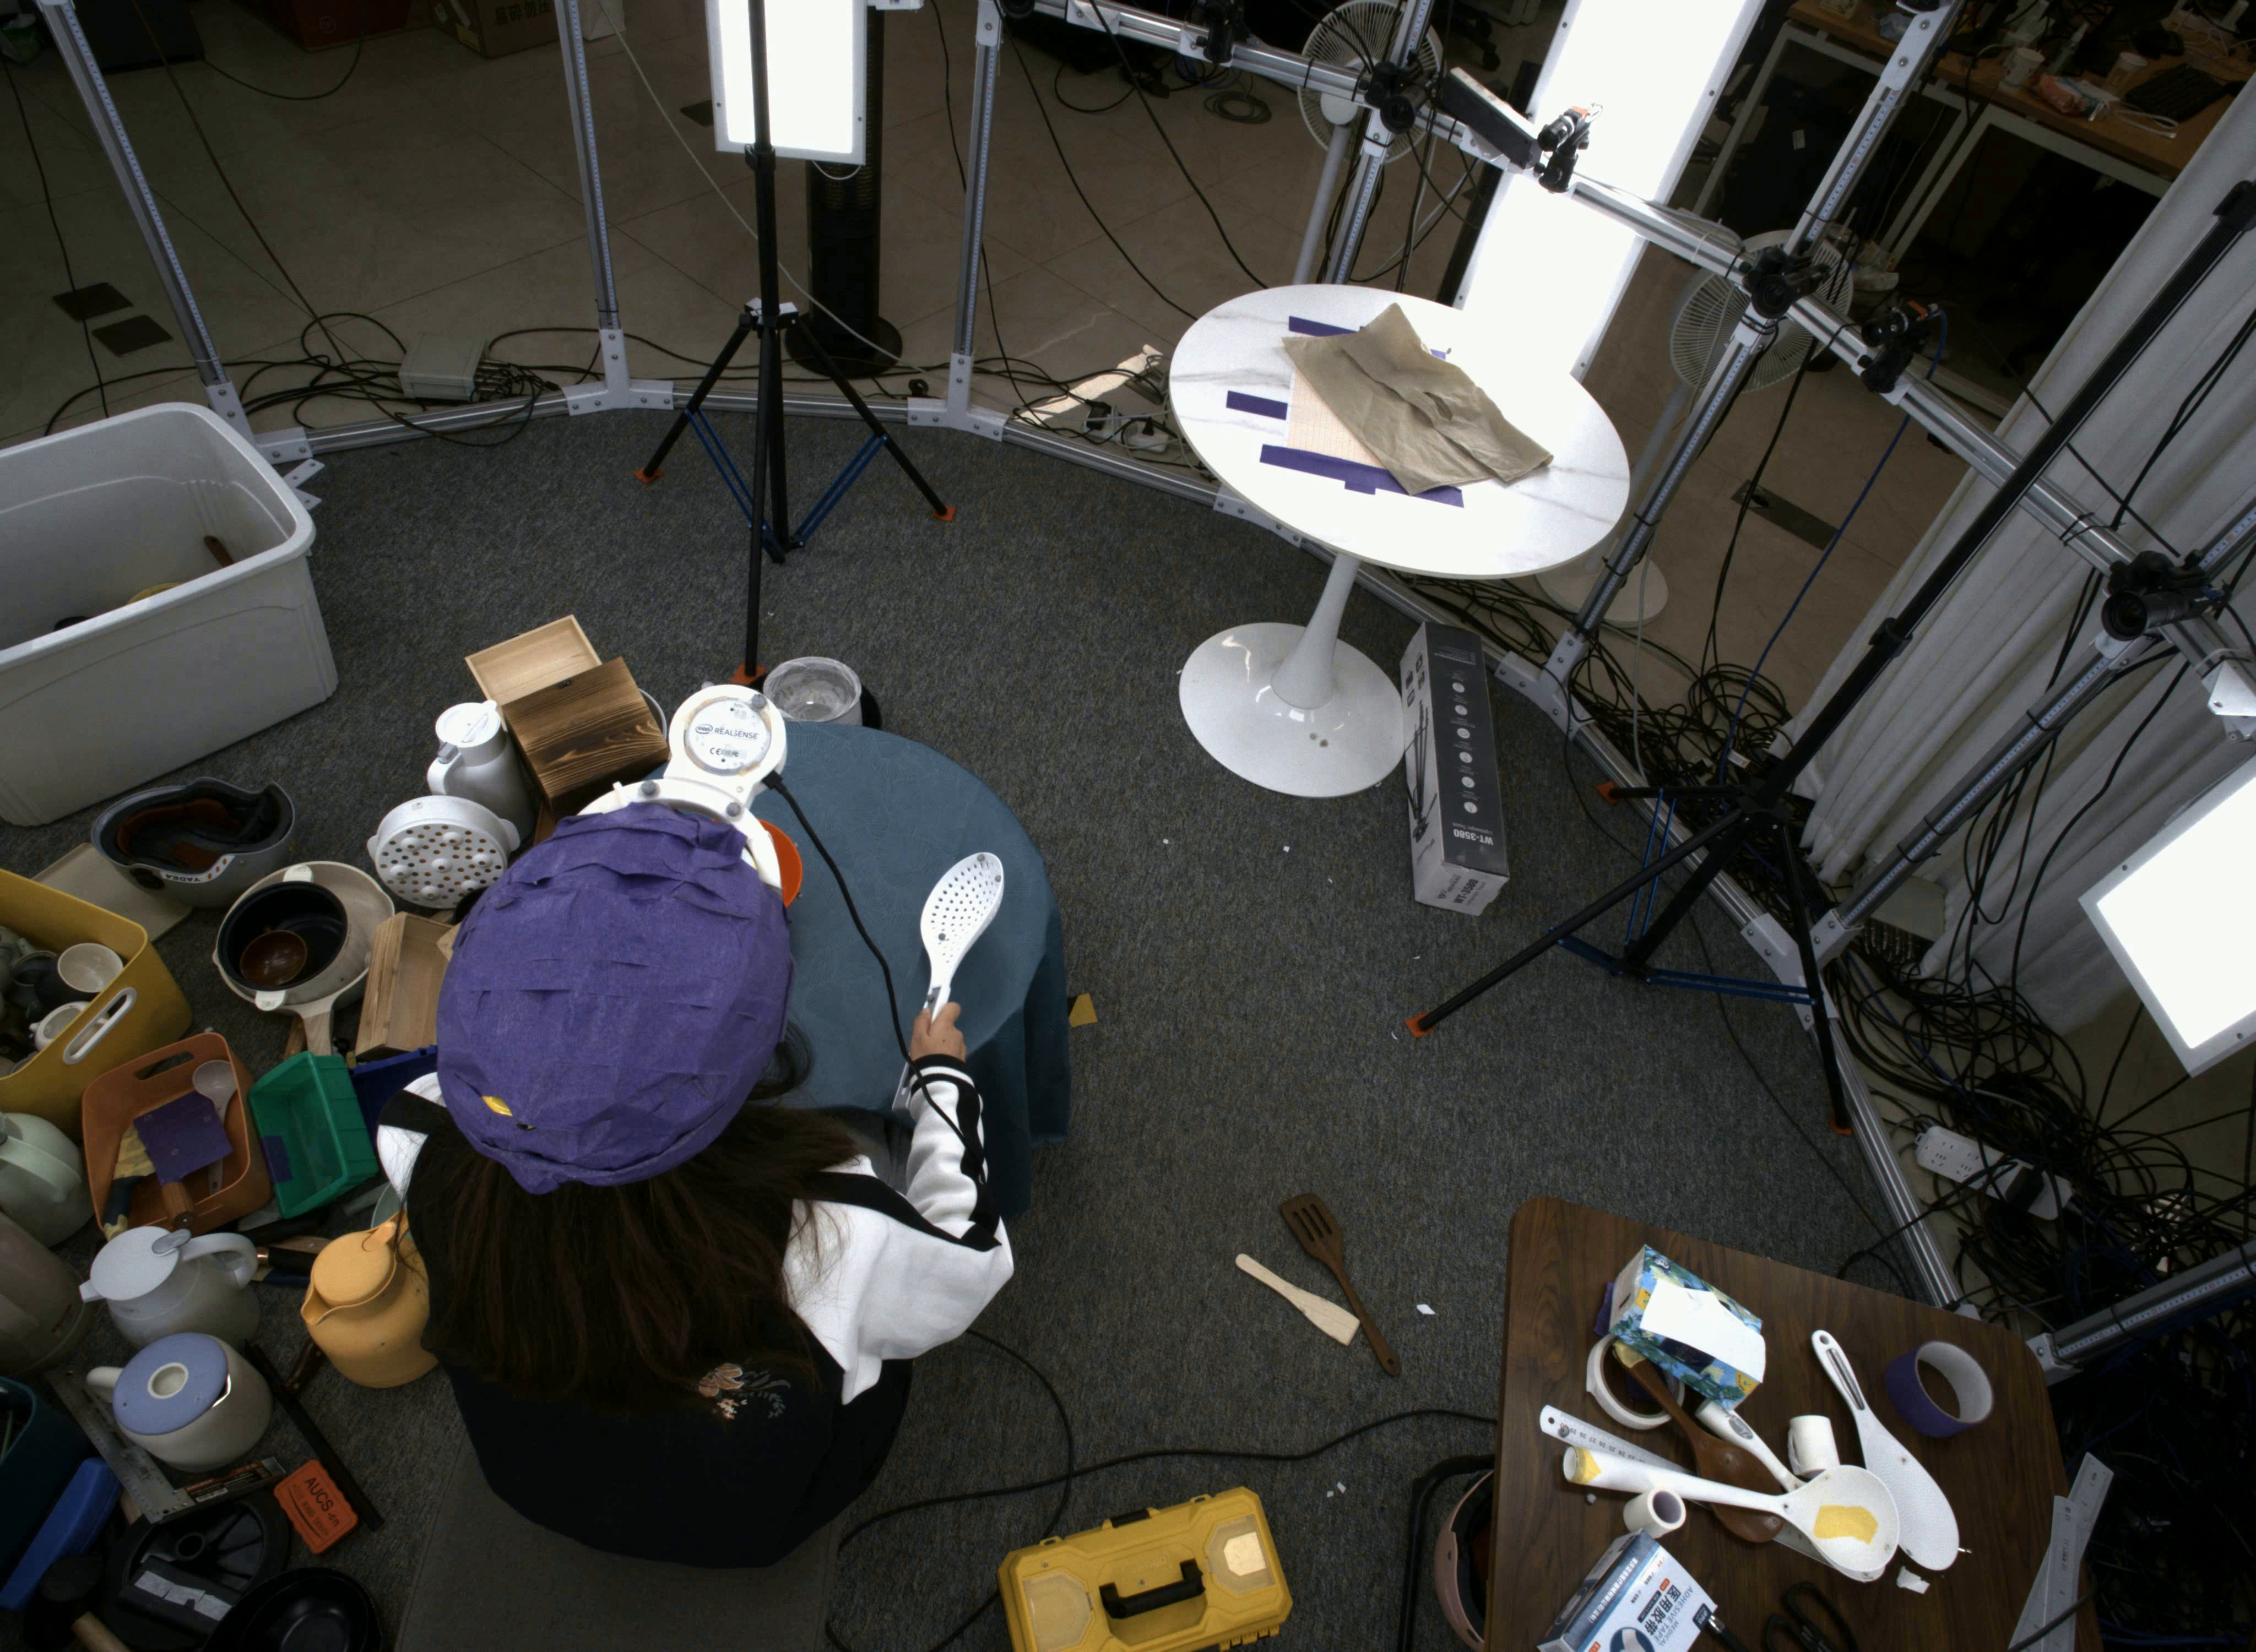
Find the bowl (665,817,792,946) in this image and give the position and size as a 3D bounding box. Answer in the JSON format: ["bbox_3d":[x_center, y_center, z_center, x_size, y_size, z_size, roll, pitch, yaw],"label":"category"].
[{"bbox_3d":[-0.483,0.077,1.566,0.148,0.106,0.145,11,49,-11],"label":"bowl"}]

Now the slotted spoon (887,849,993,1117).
[{"bbox_3d":[-0.229,0.177,1.542,0.047,0.133,0.345,44,44,-32],"label":"slotted spoon"}]
